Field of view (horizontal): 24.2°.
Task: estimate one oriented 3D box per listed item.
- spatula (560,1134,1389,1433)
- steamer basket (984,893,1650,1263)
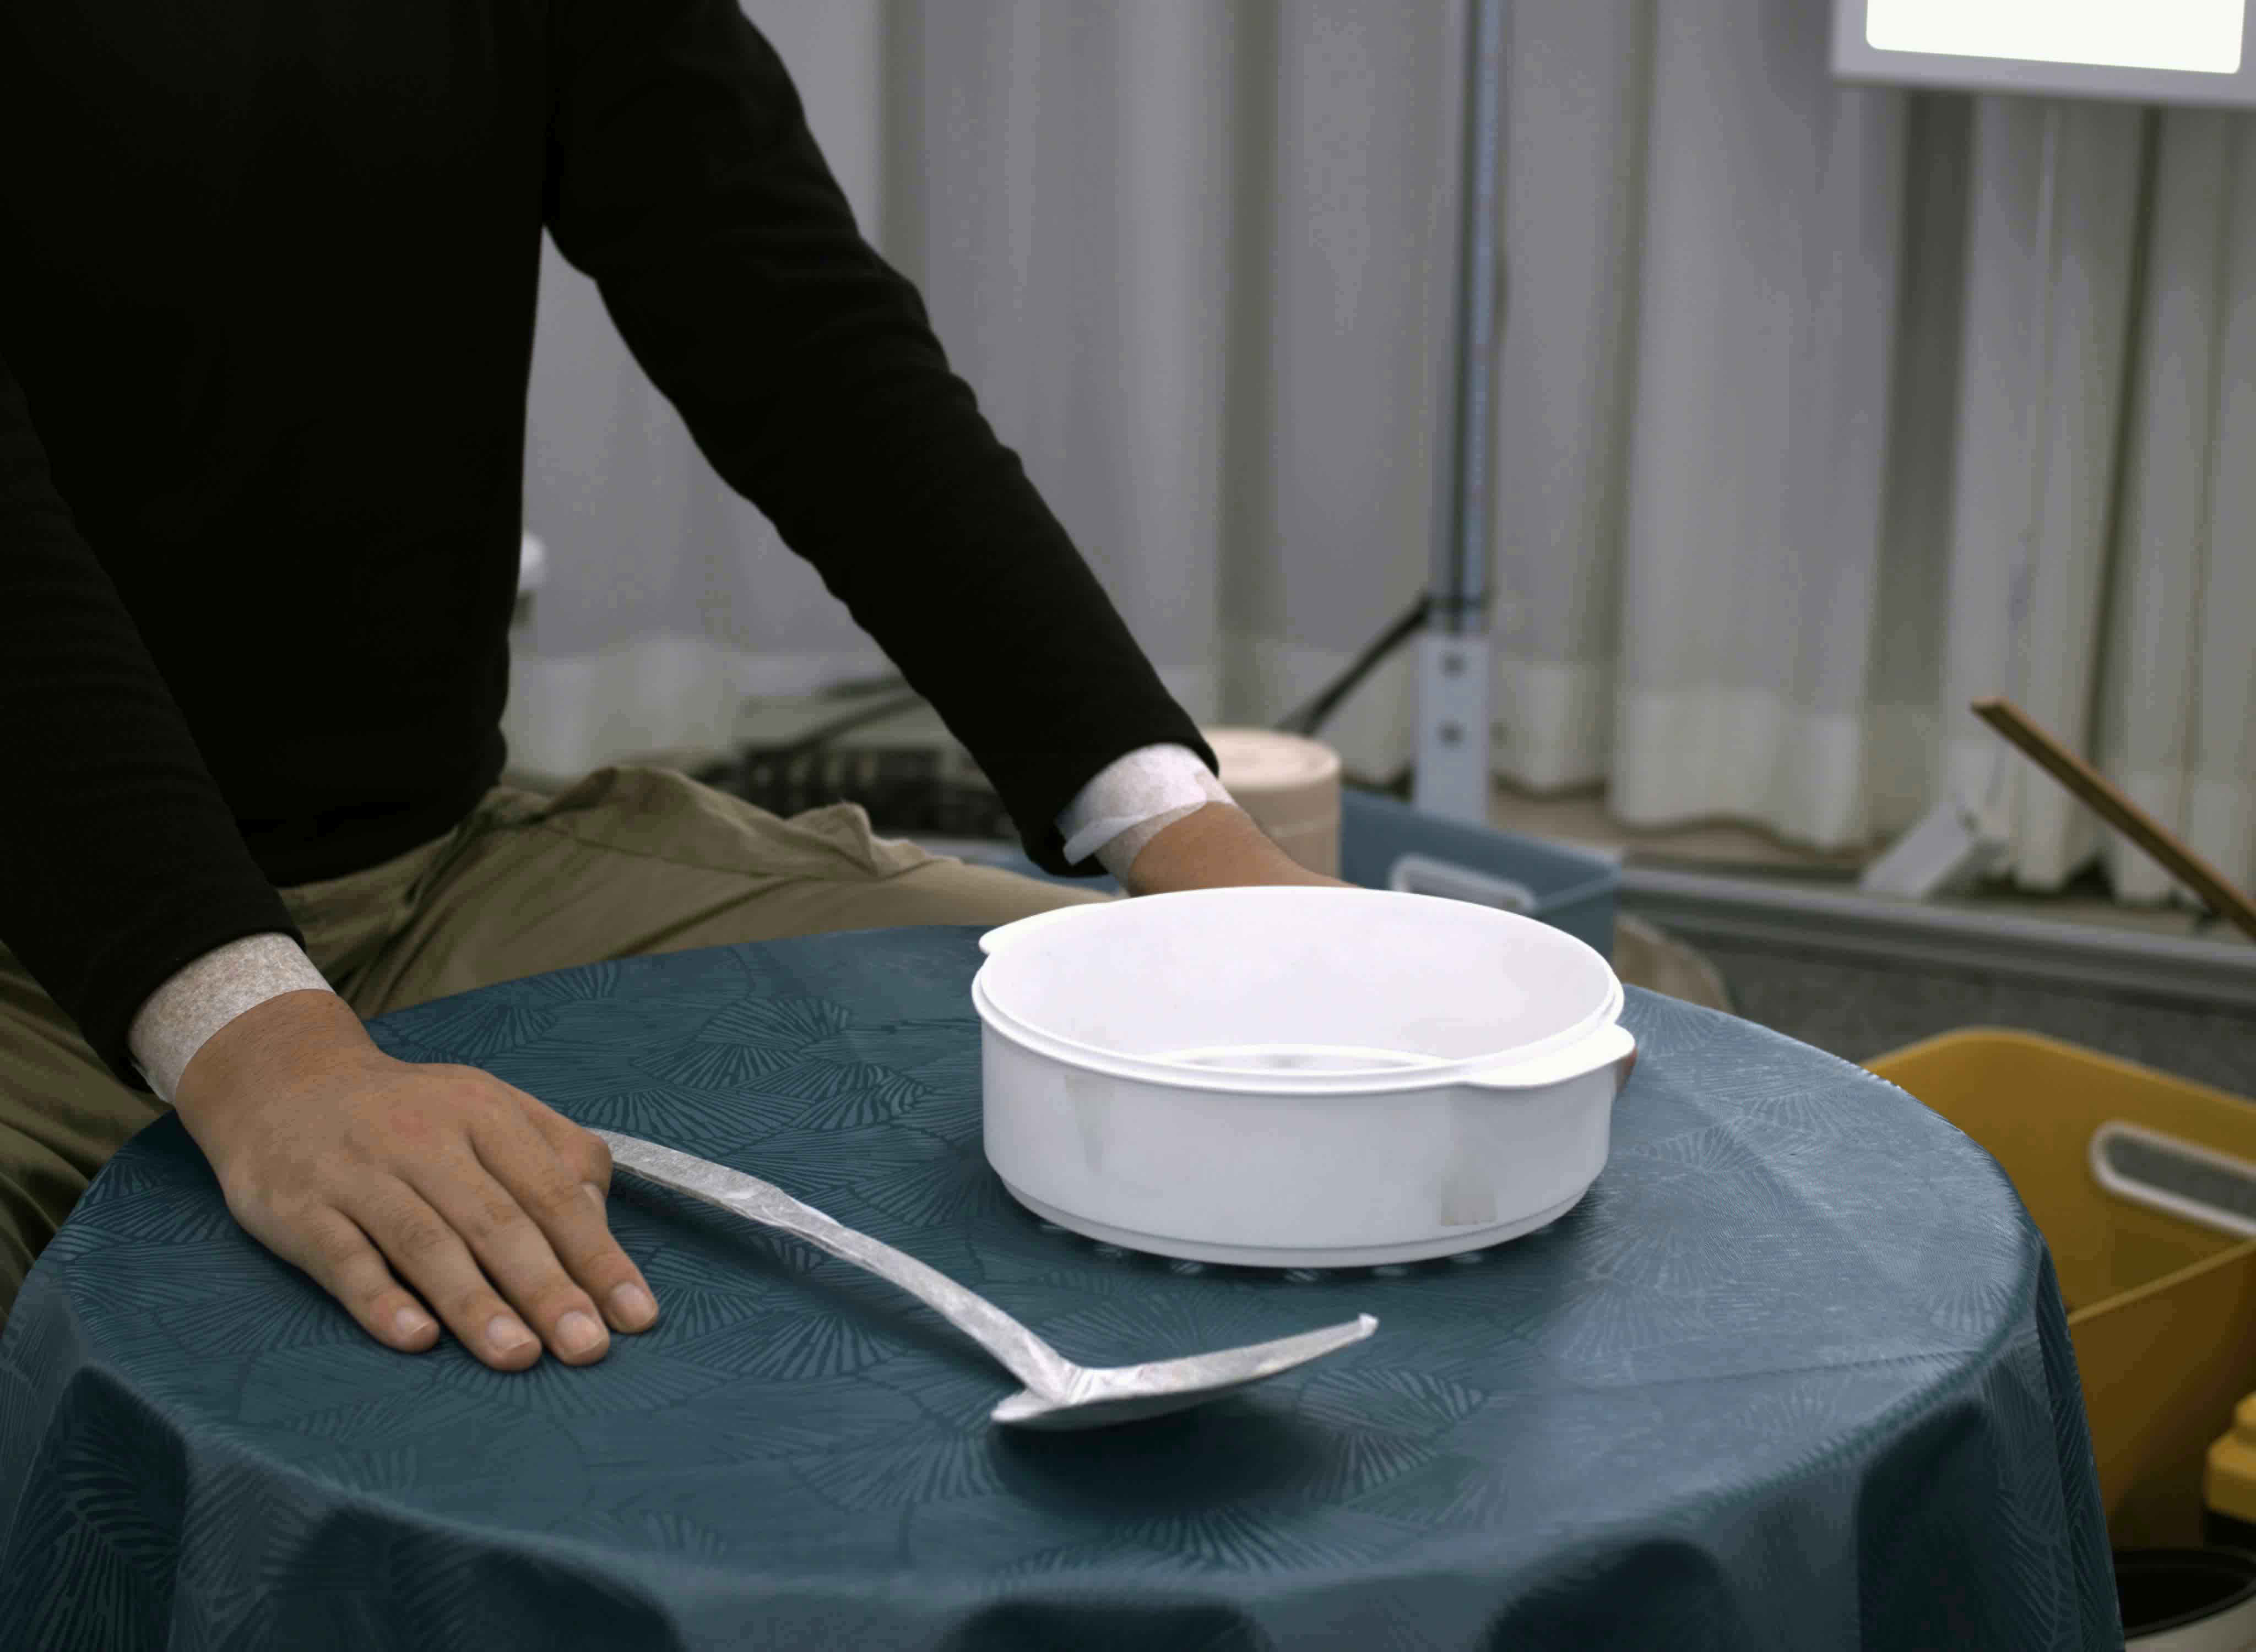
[{"bbox_3d":[-0.069,0.121,1.516,0.099,0.045,0.360,-14,21,-36],"label":"spatula"},{"bbox_3d":[0.056,0.077,1.619,0.227,0.070,0.203,13,19,40],"label":"steamer basket"}]
